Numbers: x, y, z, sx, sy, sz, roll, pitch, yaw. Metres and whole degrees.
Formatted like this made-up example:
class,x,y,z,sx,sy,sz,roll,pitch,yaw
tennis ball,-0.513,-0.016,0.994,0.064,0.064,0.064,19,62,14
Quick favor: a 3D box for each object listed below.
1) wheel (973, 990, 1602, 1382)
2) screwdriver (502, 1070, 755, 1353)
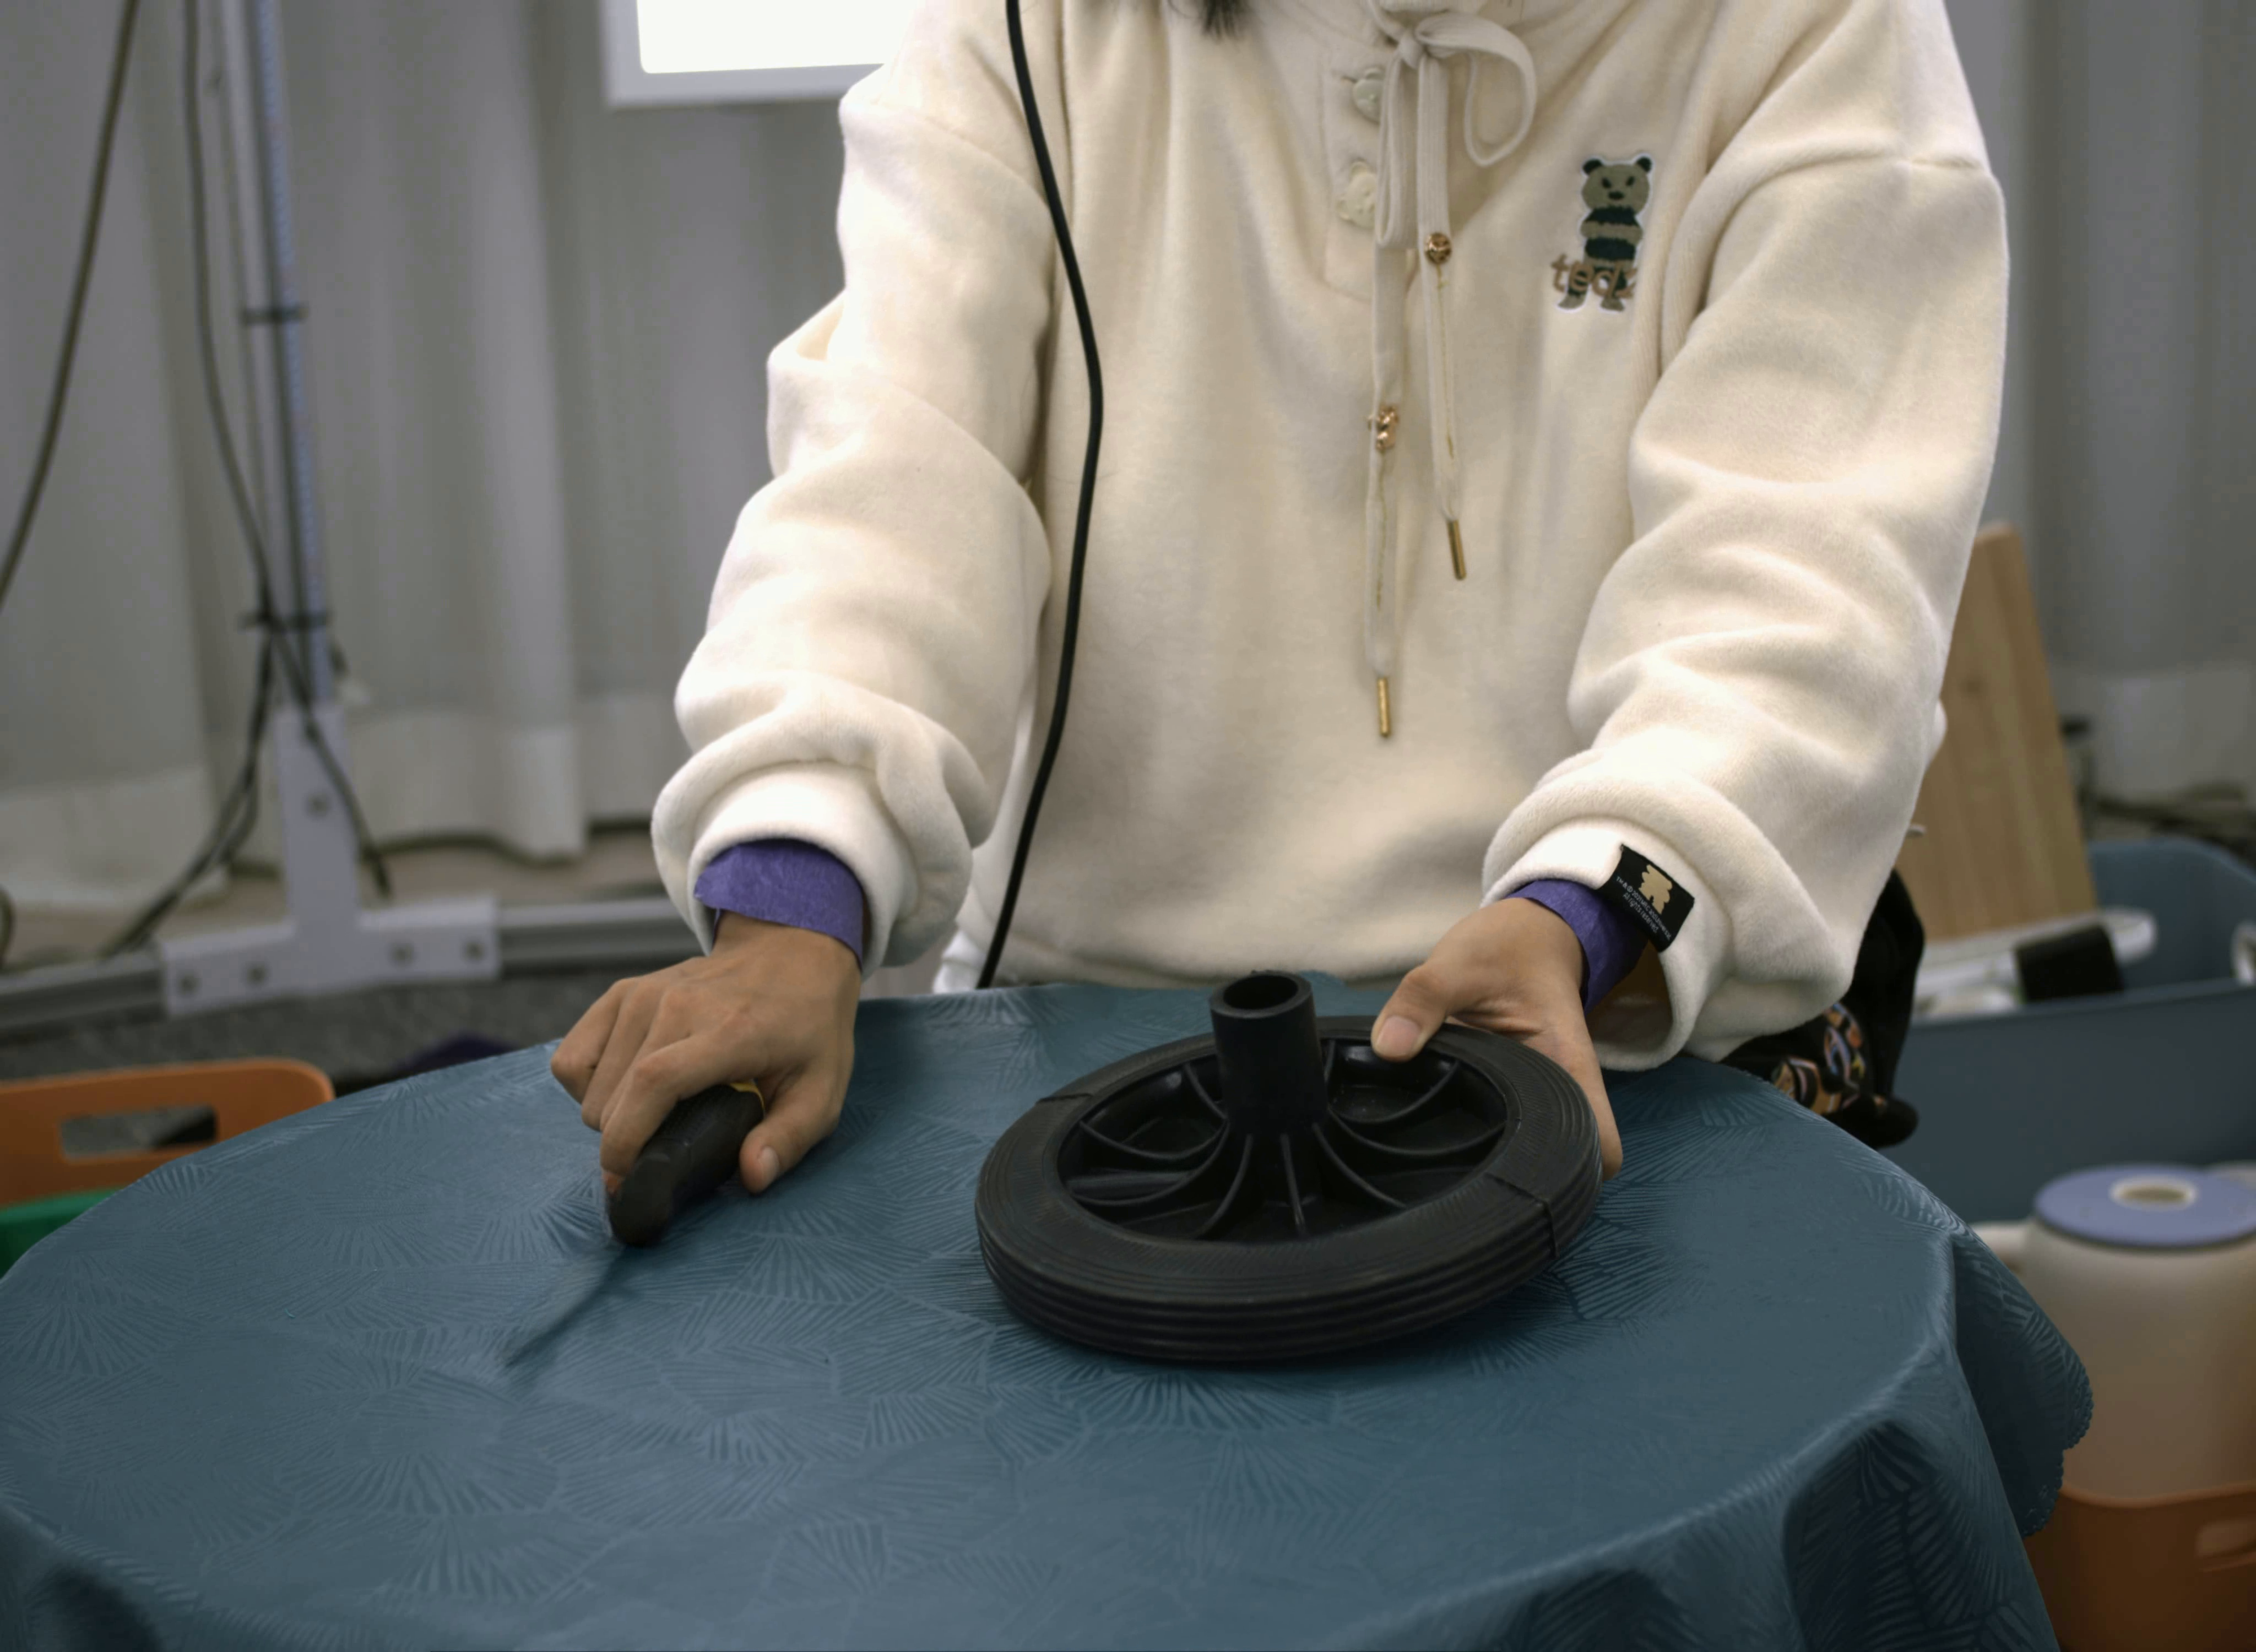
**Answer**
class,x,y,z,sx,sy,sz,roll,pitch,yaw
wheel,0.043,0.091,1.623,0.189,0.078,0.189,-17,24,-13
screwdriver,-0.158,0.119,1.680,0.031,0.031,0.199,2,18,18
